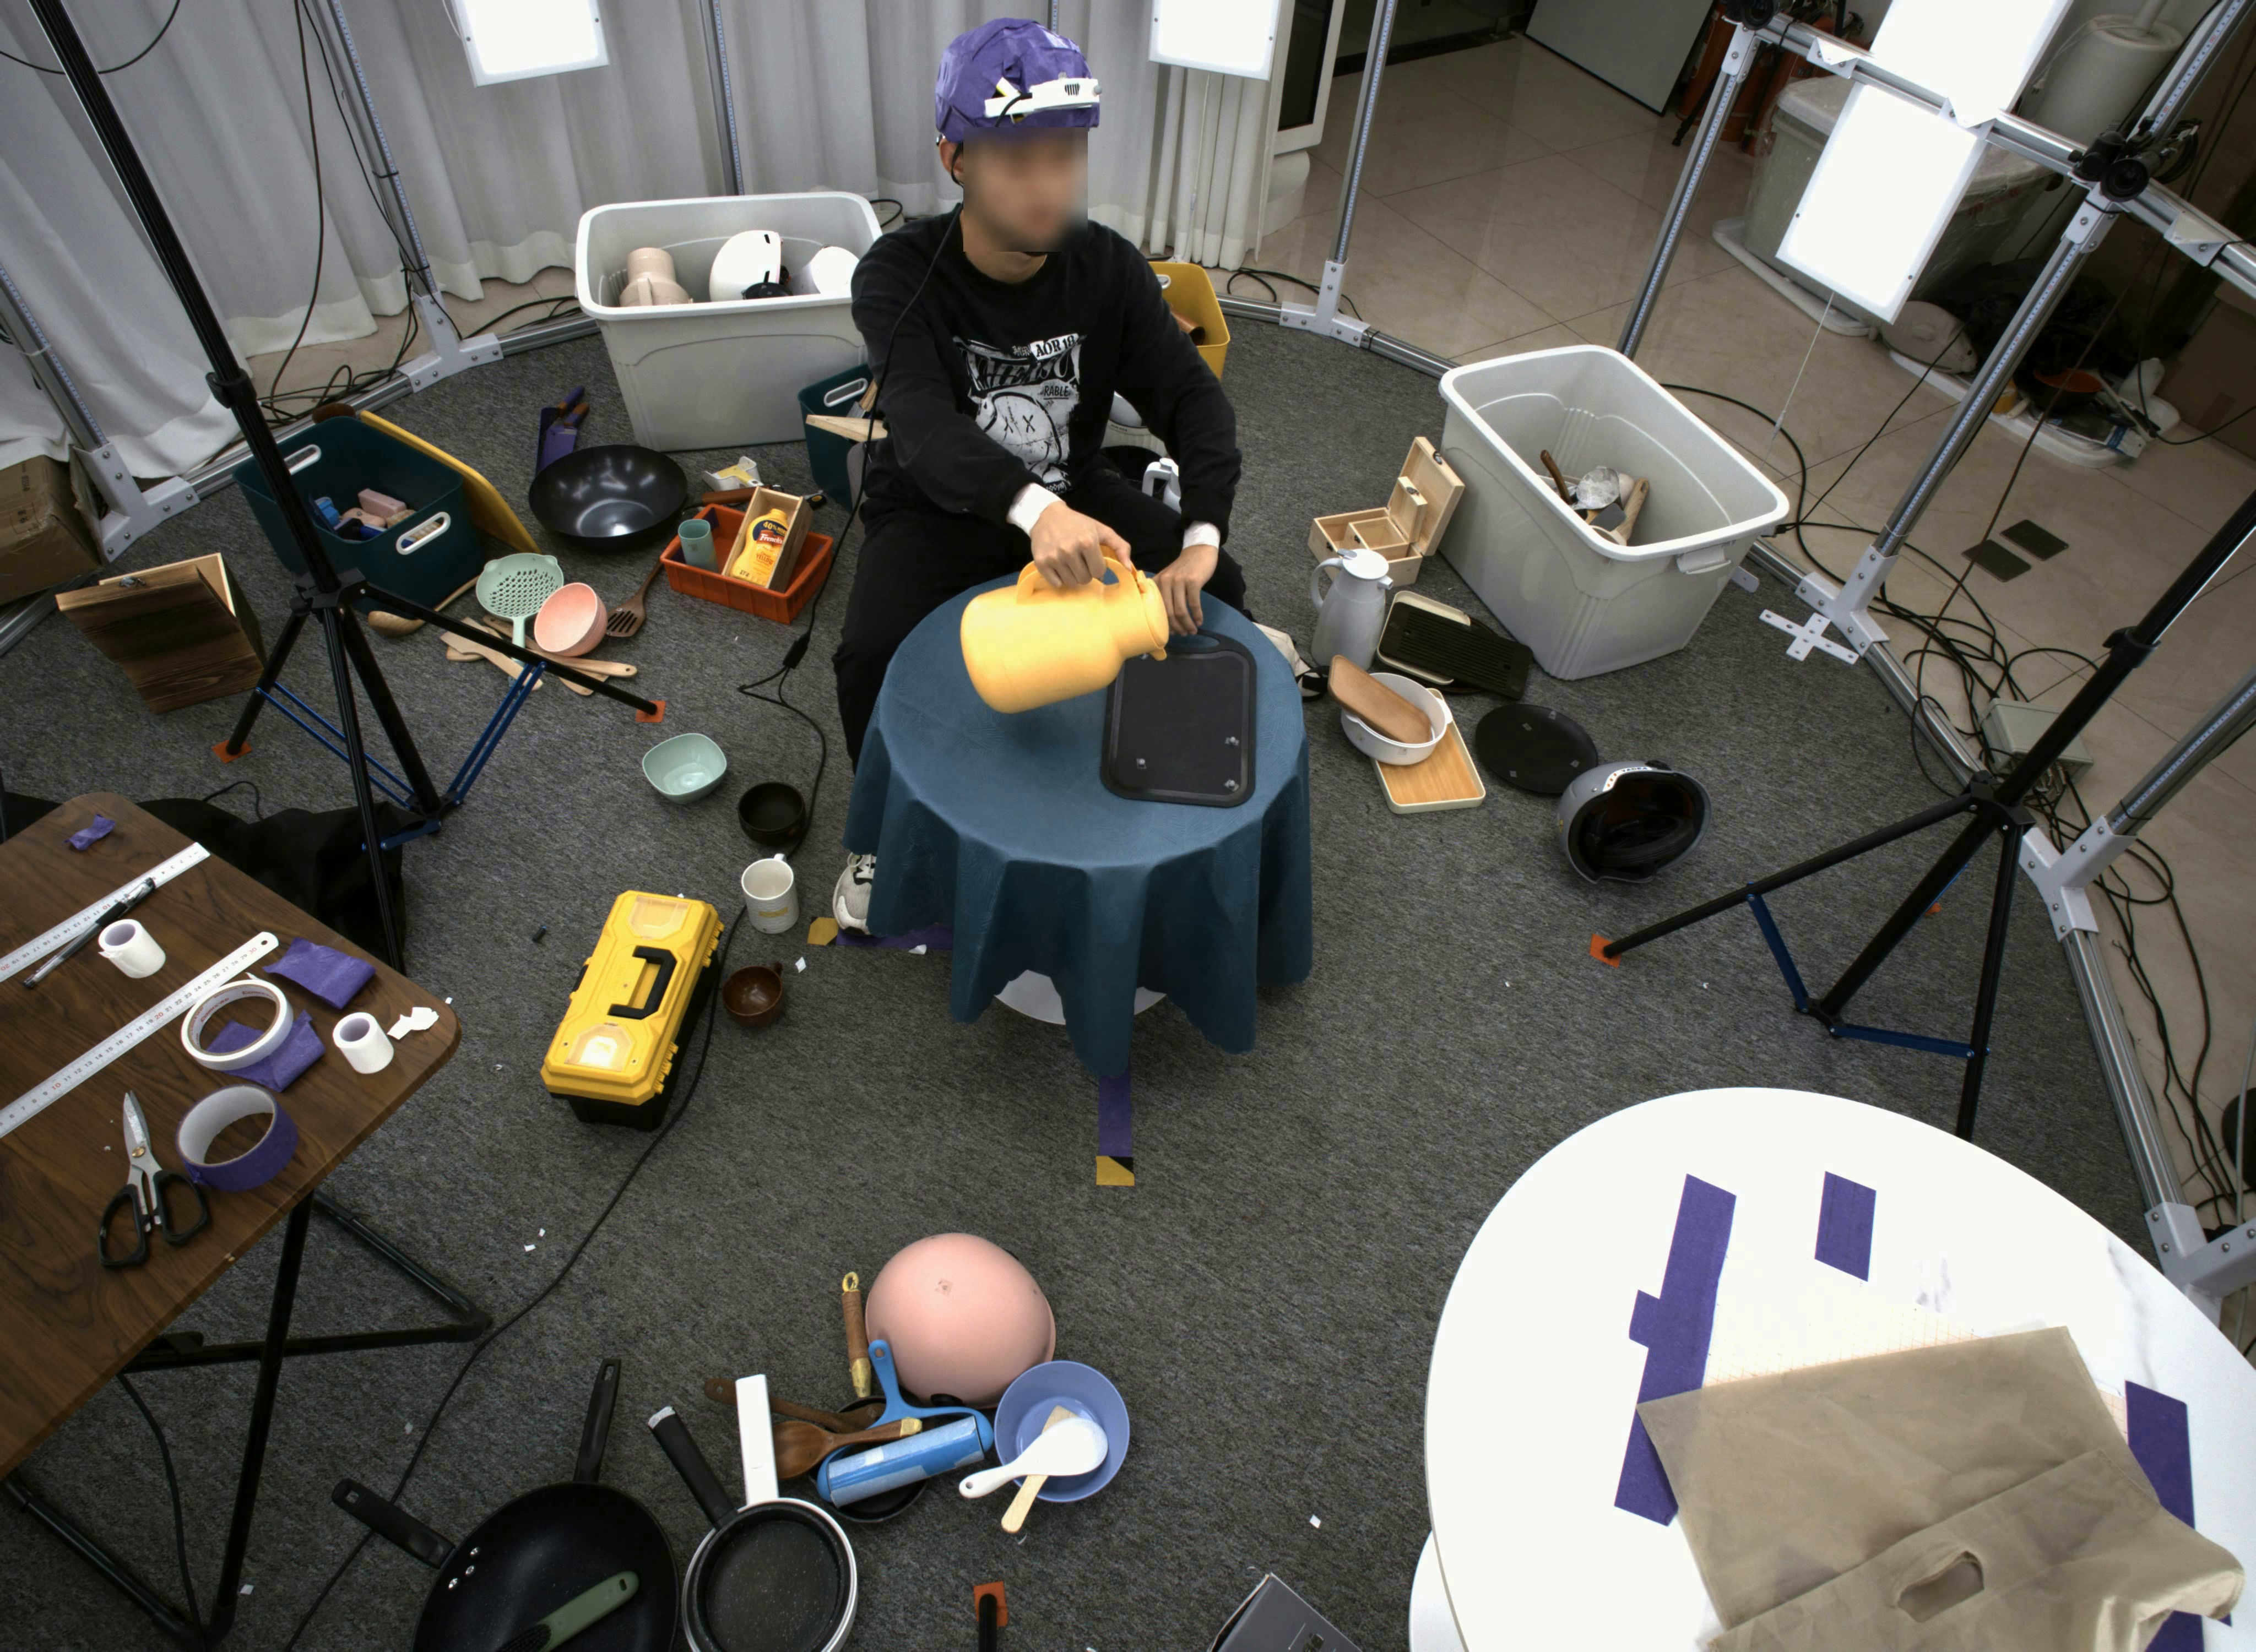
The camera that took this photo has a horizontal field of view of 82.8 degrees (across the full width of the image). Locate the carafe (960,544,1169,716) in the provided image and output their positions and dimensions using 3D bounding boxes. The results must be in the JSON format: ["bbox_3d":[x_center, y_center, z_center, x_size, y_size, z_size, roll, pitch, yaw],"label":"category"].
[{"bbox_3d":[-0.084,-0.261,1.662,0.260,0.197,0.167,-14,42,12],"label":"carafe"}]

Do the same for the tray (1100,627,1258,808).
[{"bbox_3d":[0.075,-0.163,1.797,0.211,0.009,0.333,6,53,0],"label":"tray"}]
